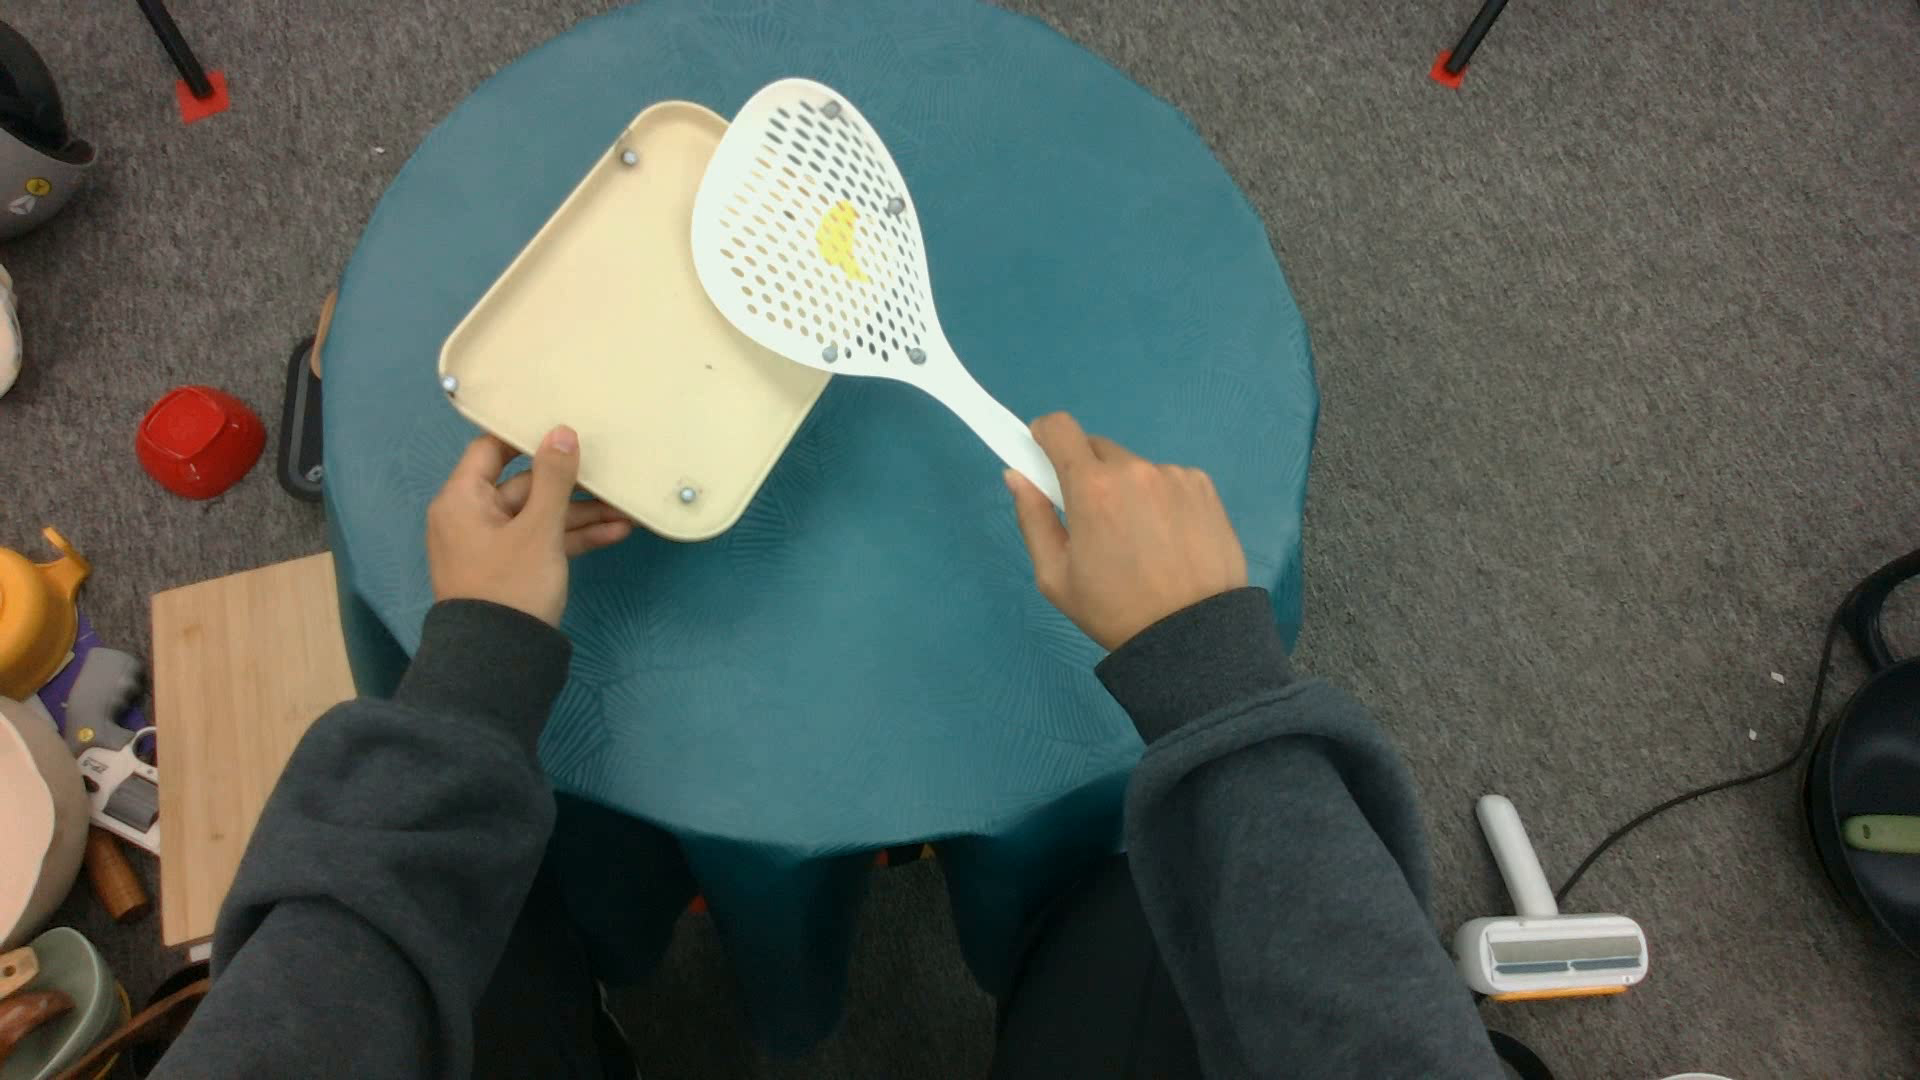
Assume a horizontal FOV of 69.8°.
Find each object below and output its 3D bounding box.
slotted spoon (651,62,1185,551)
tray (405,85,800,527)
[{"bbox_3d":[-0.027,-0.105,0.694,0.348,0.136,0.050,45,26,22],"label":"slotted spoon"},{"bbox_3d":[-0.169,-0.132,0.751,0.171,0.017,0.241,33,61,-8],"label":"tray"}]
